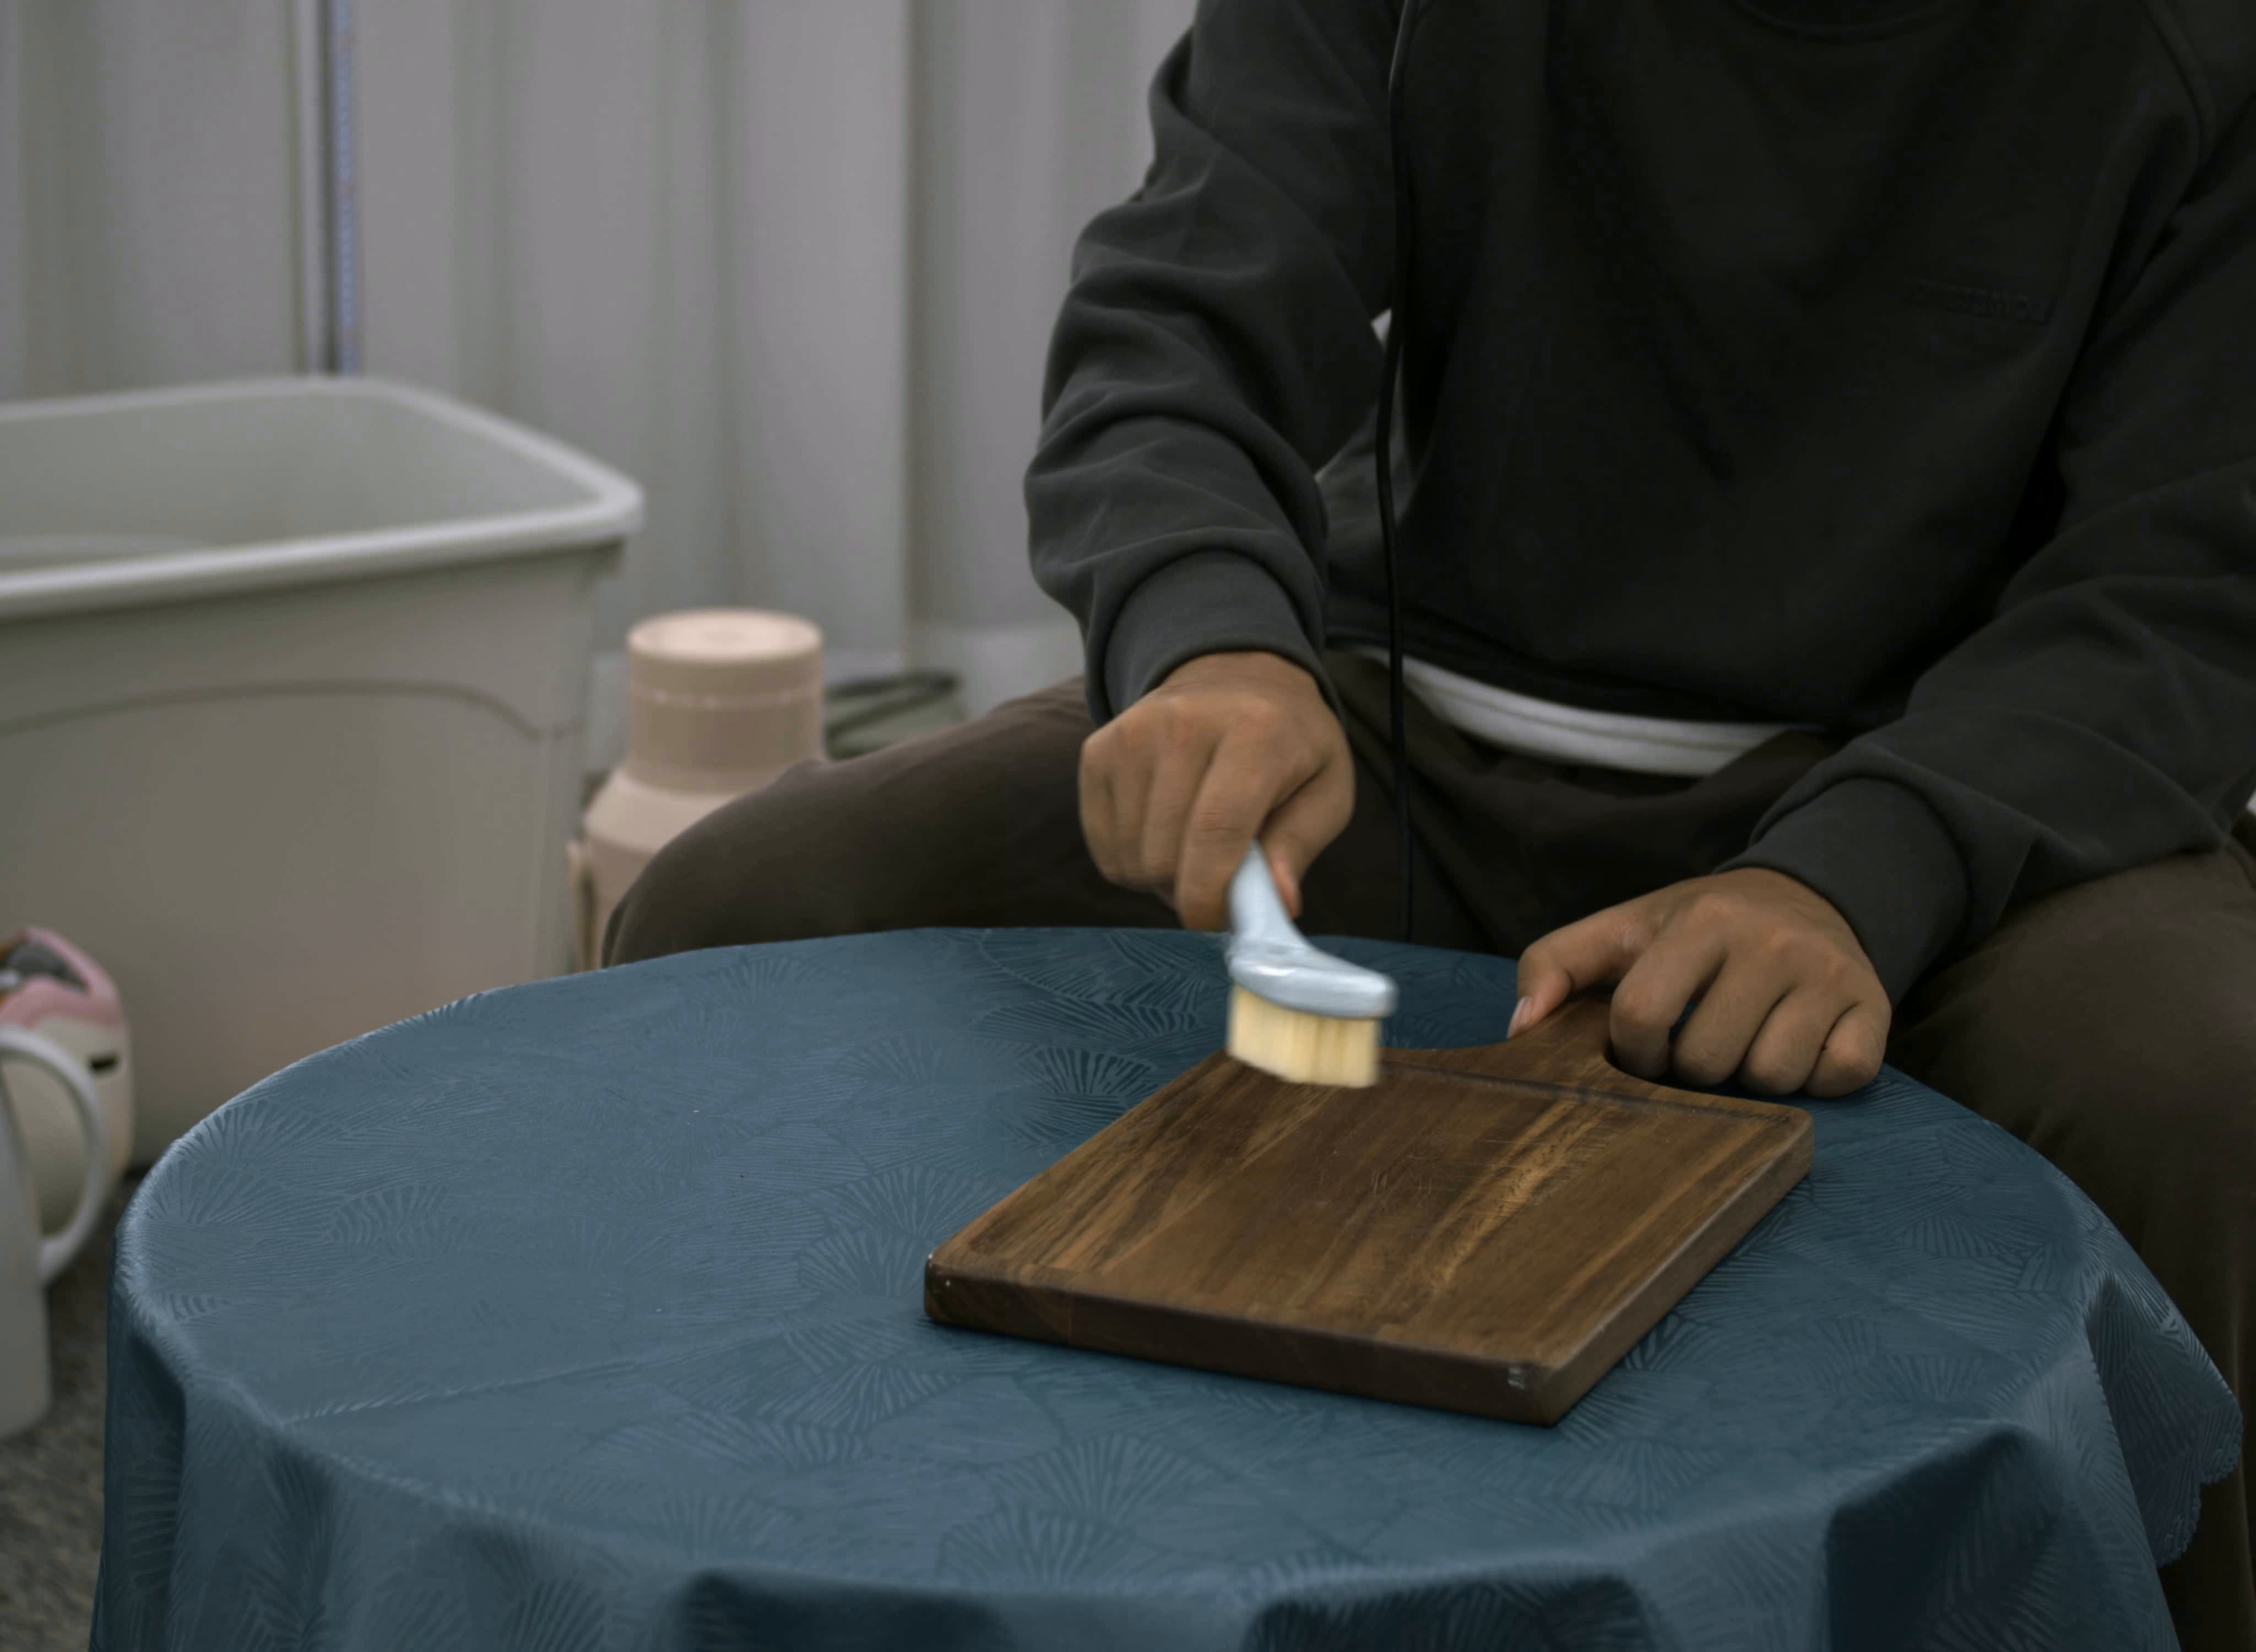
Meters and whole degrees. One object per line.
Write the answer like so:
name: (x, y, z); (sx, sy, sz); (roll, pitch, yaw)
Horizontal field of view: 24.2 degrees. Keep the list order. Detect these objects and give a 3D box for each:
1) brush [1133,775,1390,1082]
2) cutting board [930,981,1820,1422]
brush: (0.035, 0.032, 1.642); (0.038, 0.050, 0.226); (4, 18, -16)
cutting board: (0.100, 0.103, 1.626); (0.199, 0.023, 0.353); (8, 17, 23)
